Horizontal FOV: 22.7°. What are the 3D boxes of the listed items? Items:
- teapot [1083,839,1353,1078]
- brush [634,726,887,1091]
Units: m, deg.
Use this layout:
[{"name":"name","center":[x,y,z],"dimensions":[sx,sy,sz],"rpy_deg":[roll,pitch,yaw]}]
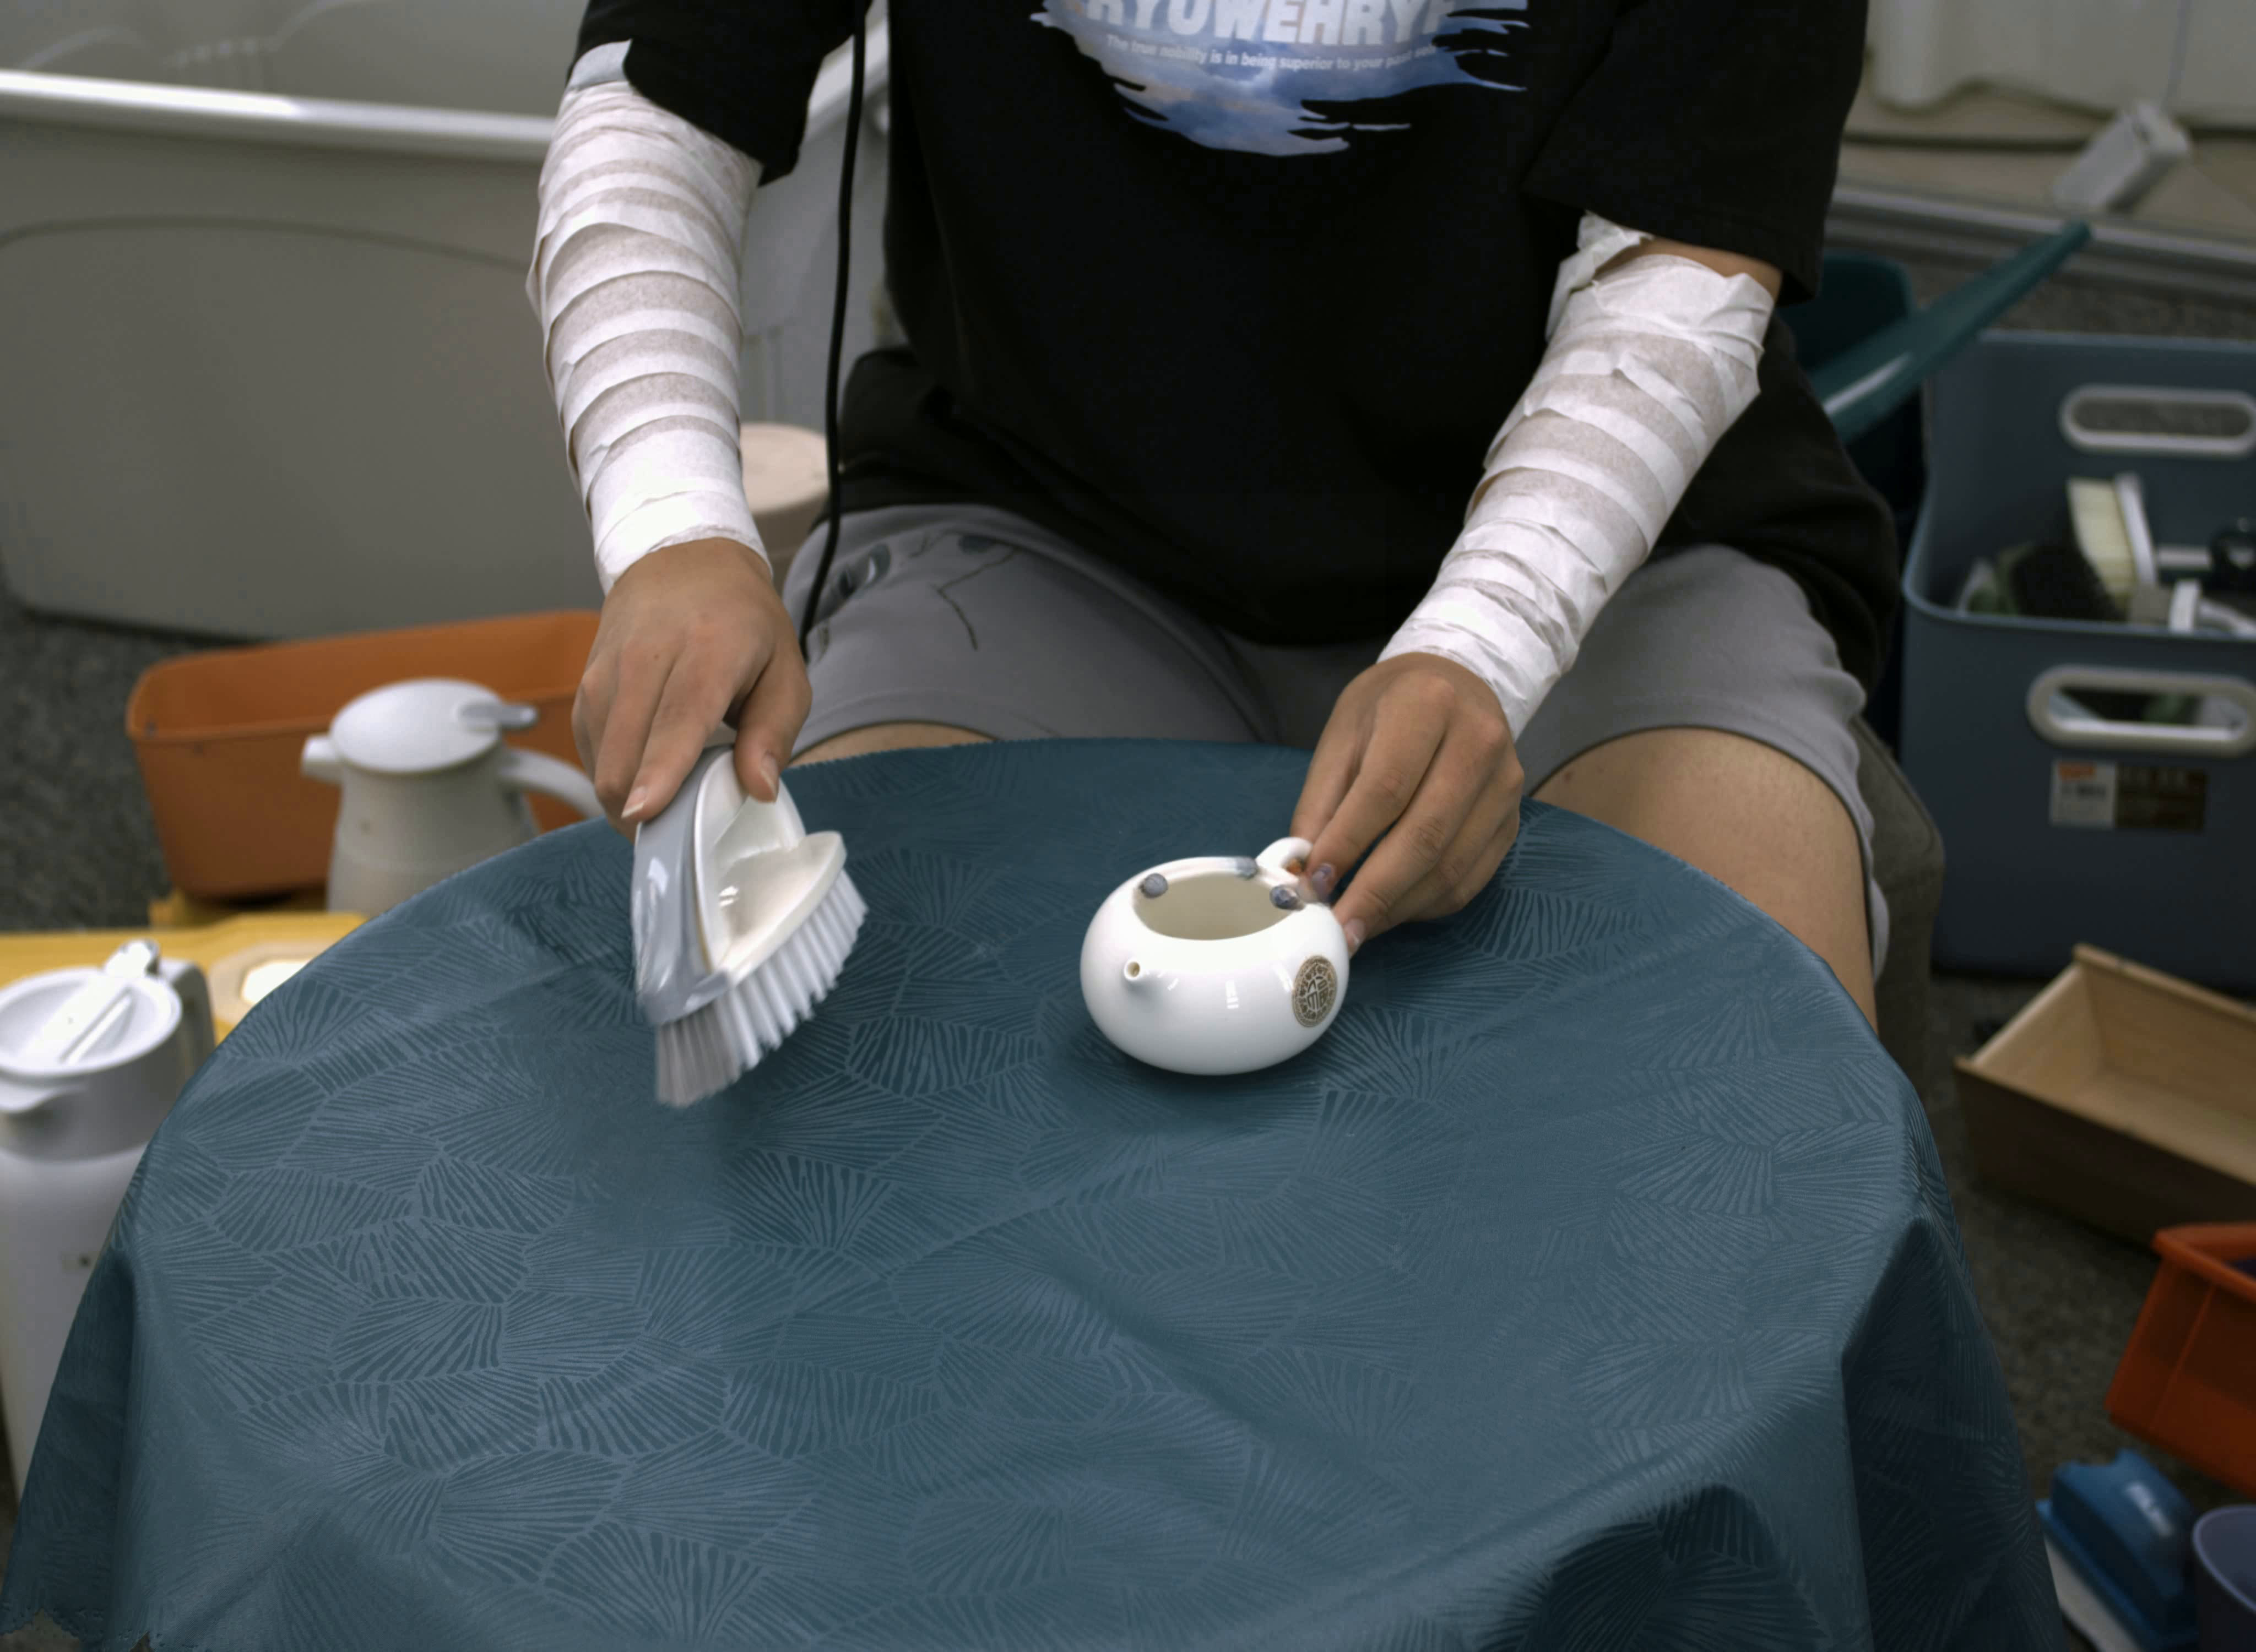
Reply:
[{"name":"teapot","center":[0.037,0.045,1.948],"dimensions":[0.093,0.056,0.129],"rpy_deg":[10,29,31]},{"name":"brush","center":[-0.136,0.022,1.915],"dimensions":[0.061,0.094,0.178],"rpy_deg":[-20,15,17]}]
